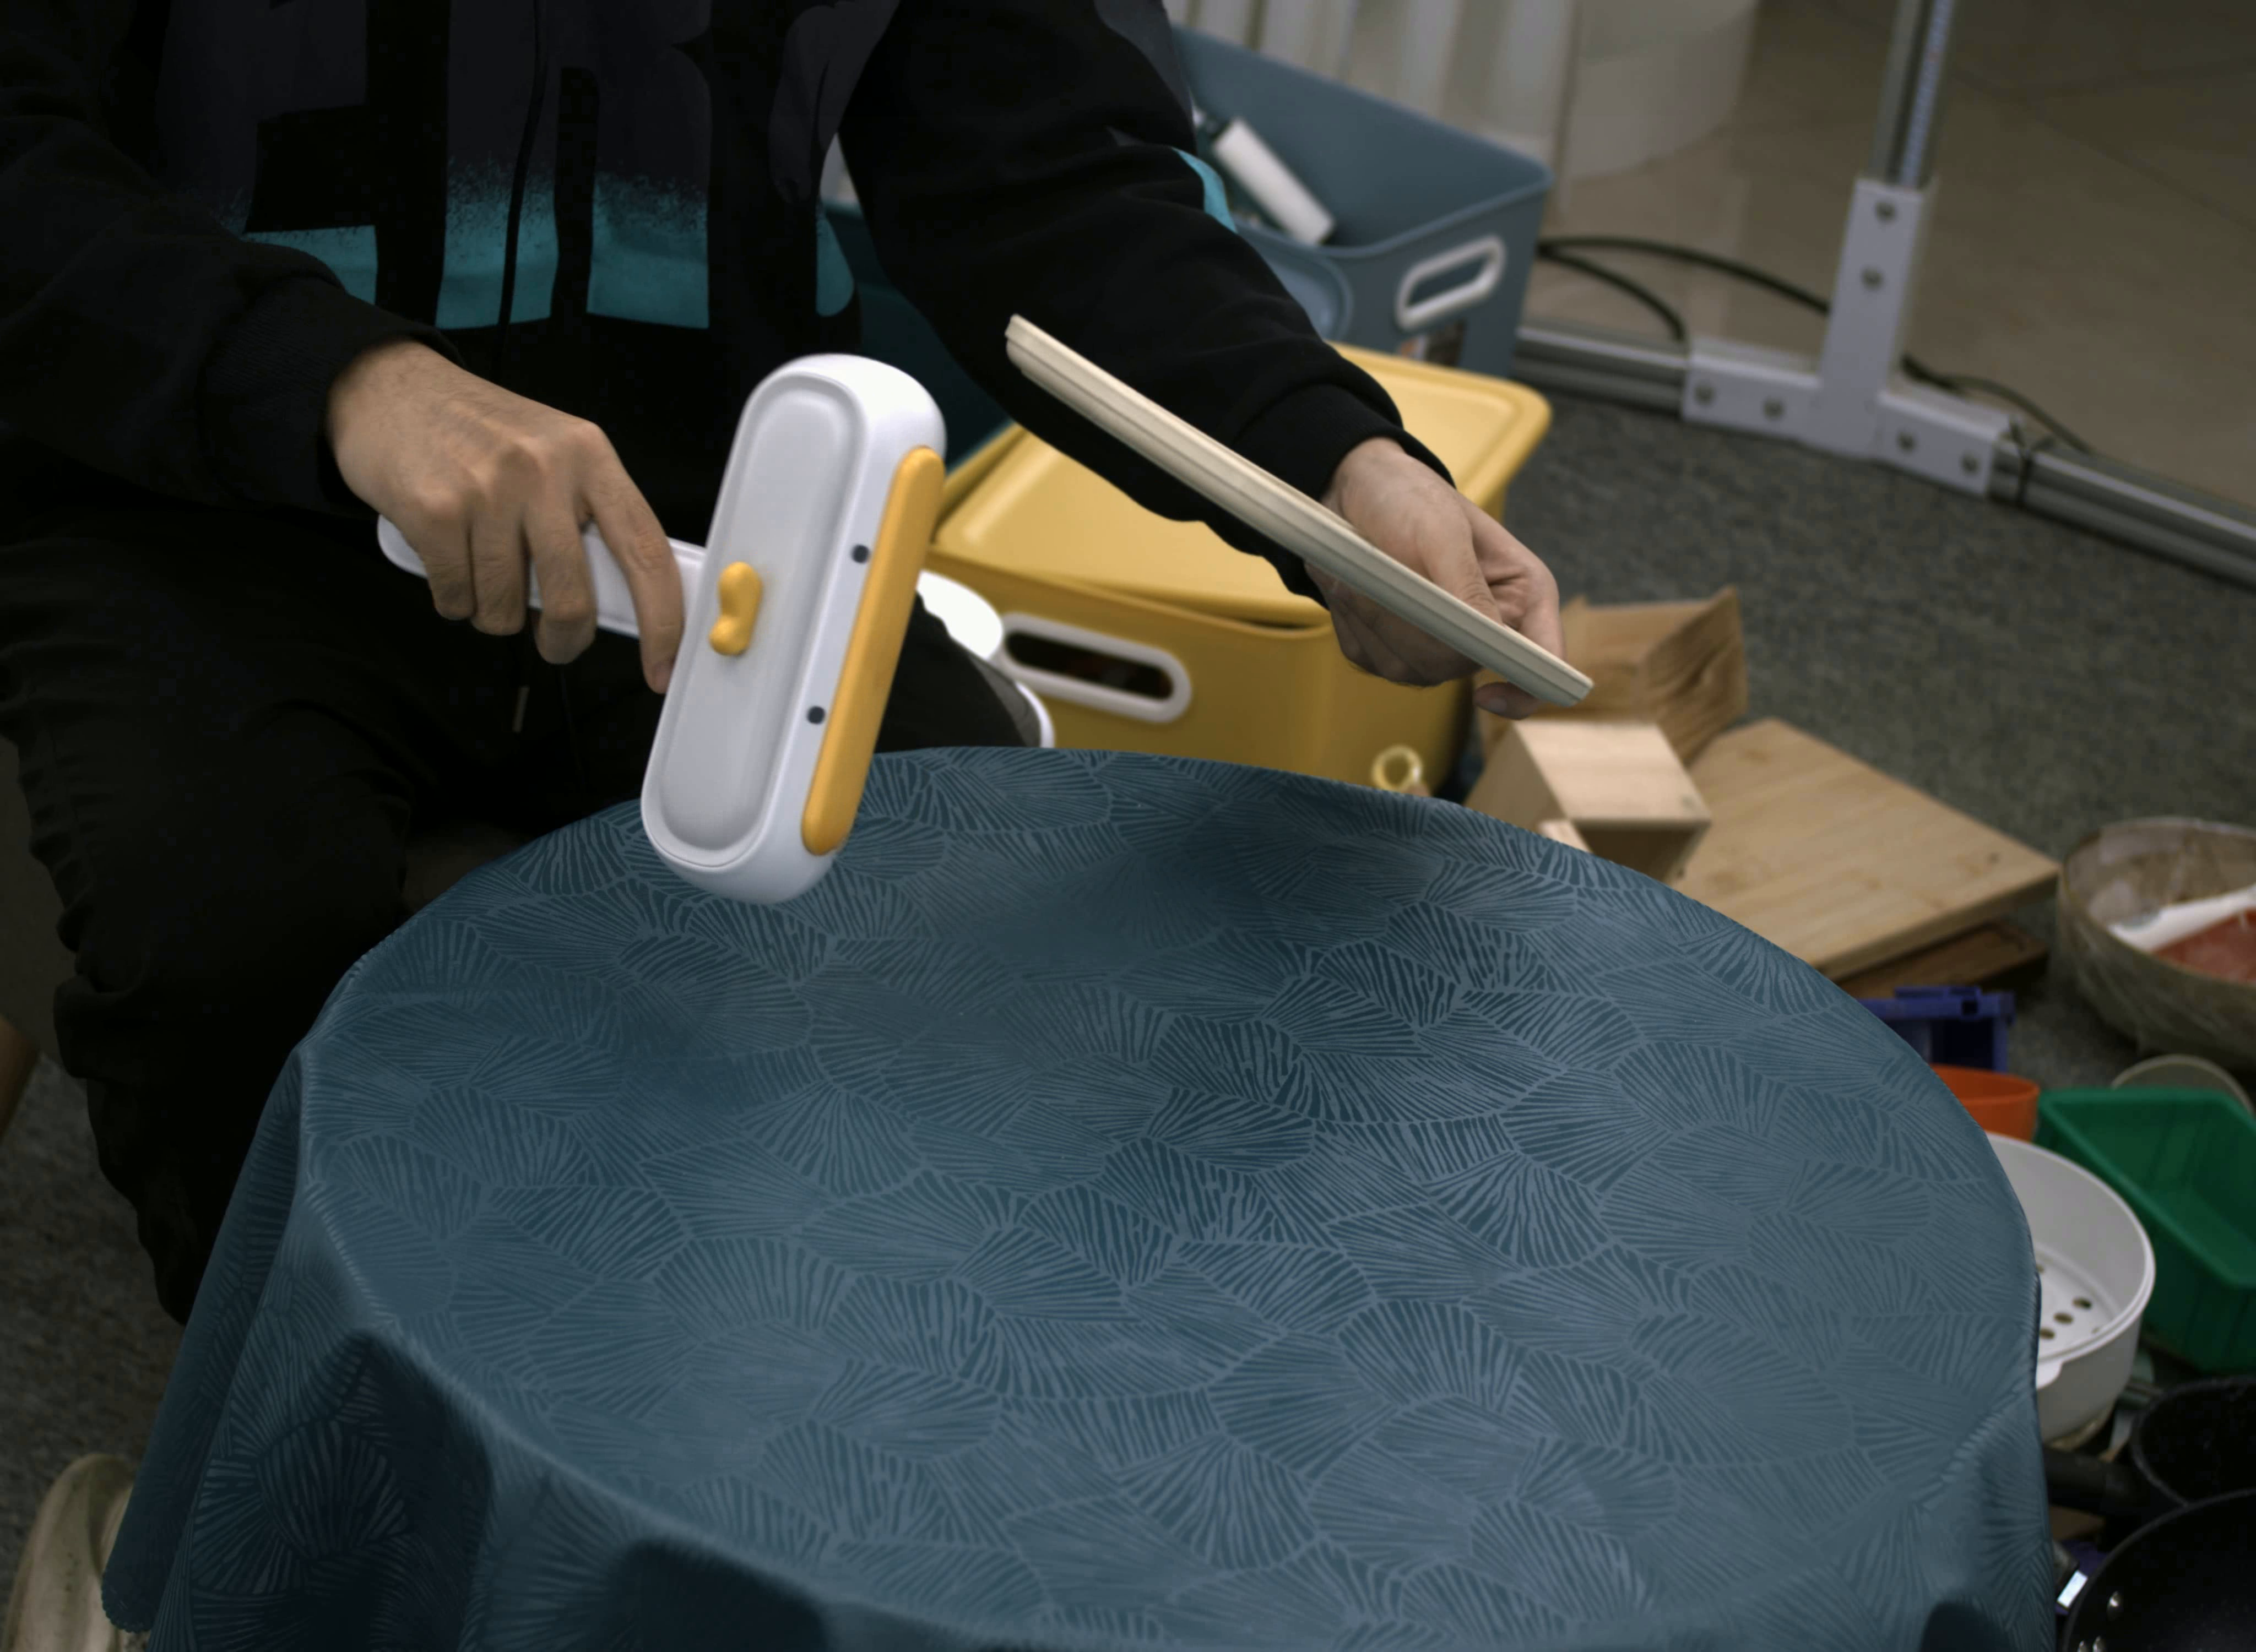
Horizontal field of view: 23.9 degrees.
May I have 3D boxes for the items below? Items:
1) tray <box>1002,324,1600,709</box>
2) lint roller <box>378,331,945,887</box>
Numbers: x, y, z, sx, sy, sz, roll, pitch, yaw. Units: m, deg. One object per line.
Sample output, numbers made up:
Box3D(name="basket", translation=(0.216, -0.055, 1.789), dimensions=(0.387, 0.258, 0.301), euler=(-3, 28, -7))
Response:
Box3D(name="tray", translation=(0.063, -0.109, 1.948), dimensions=(0.173, 0.017, 0.237), euler=(34, 5, 39))
Box3D(name="lint roller", translation=(-0.168, -0.086, 1.861), dimensions=(0.193, 0.193, 0.074), euler=(11, 3, 24))
